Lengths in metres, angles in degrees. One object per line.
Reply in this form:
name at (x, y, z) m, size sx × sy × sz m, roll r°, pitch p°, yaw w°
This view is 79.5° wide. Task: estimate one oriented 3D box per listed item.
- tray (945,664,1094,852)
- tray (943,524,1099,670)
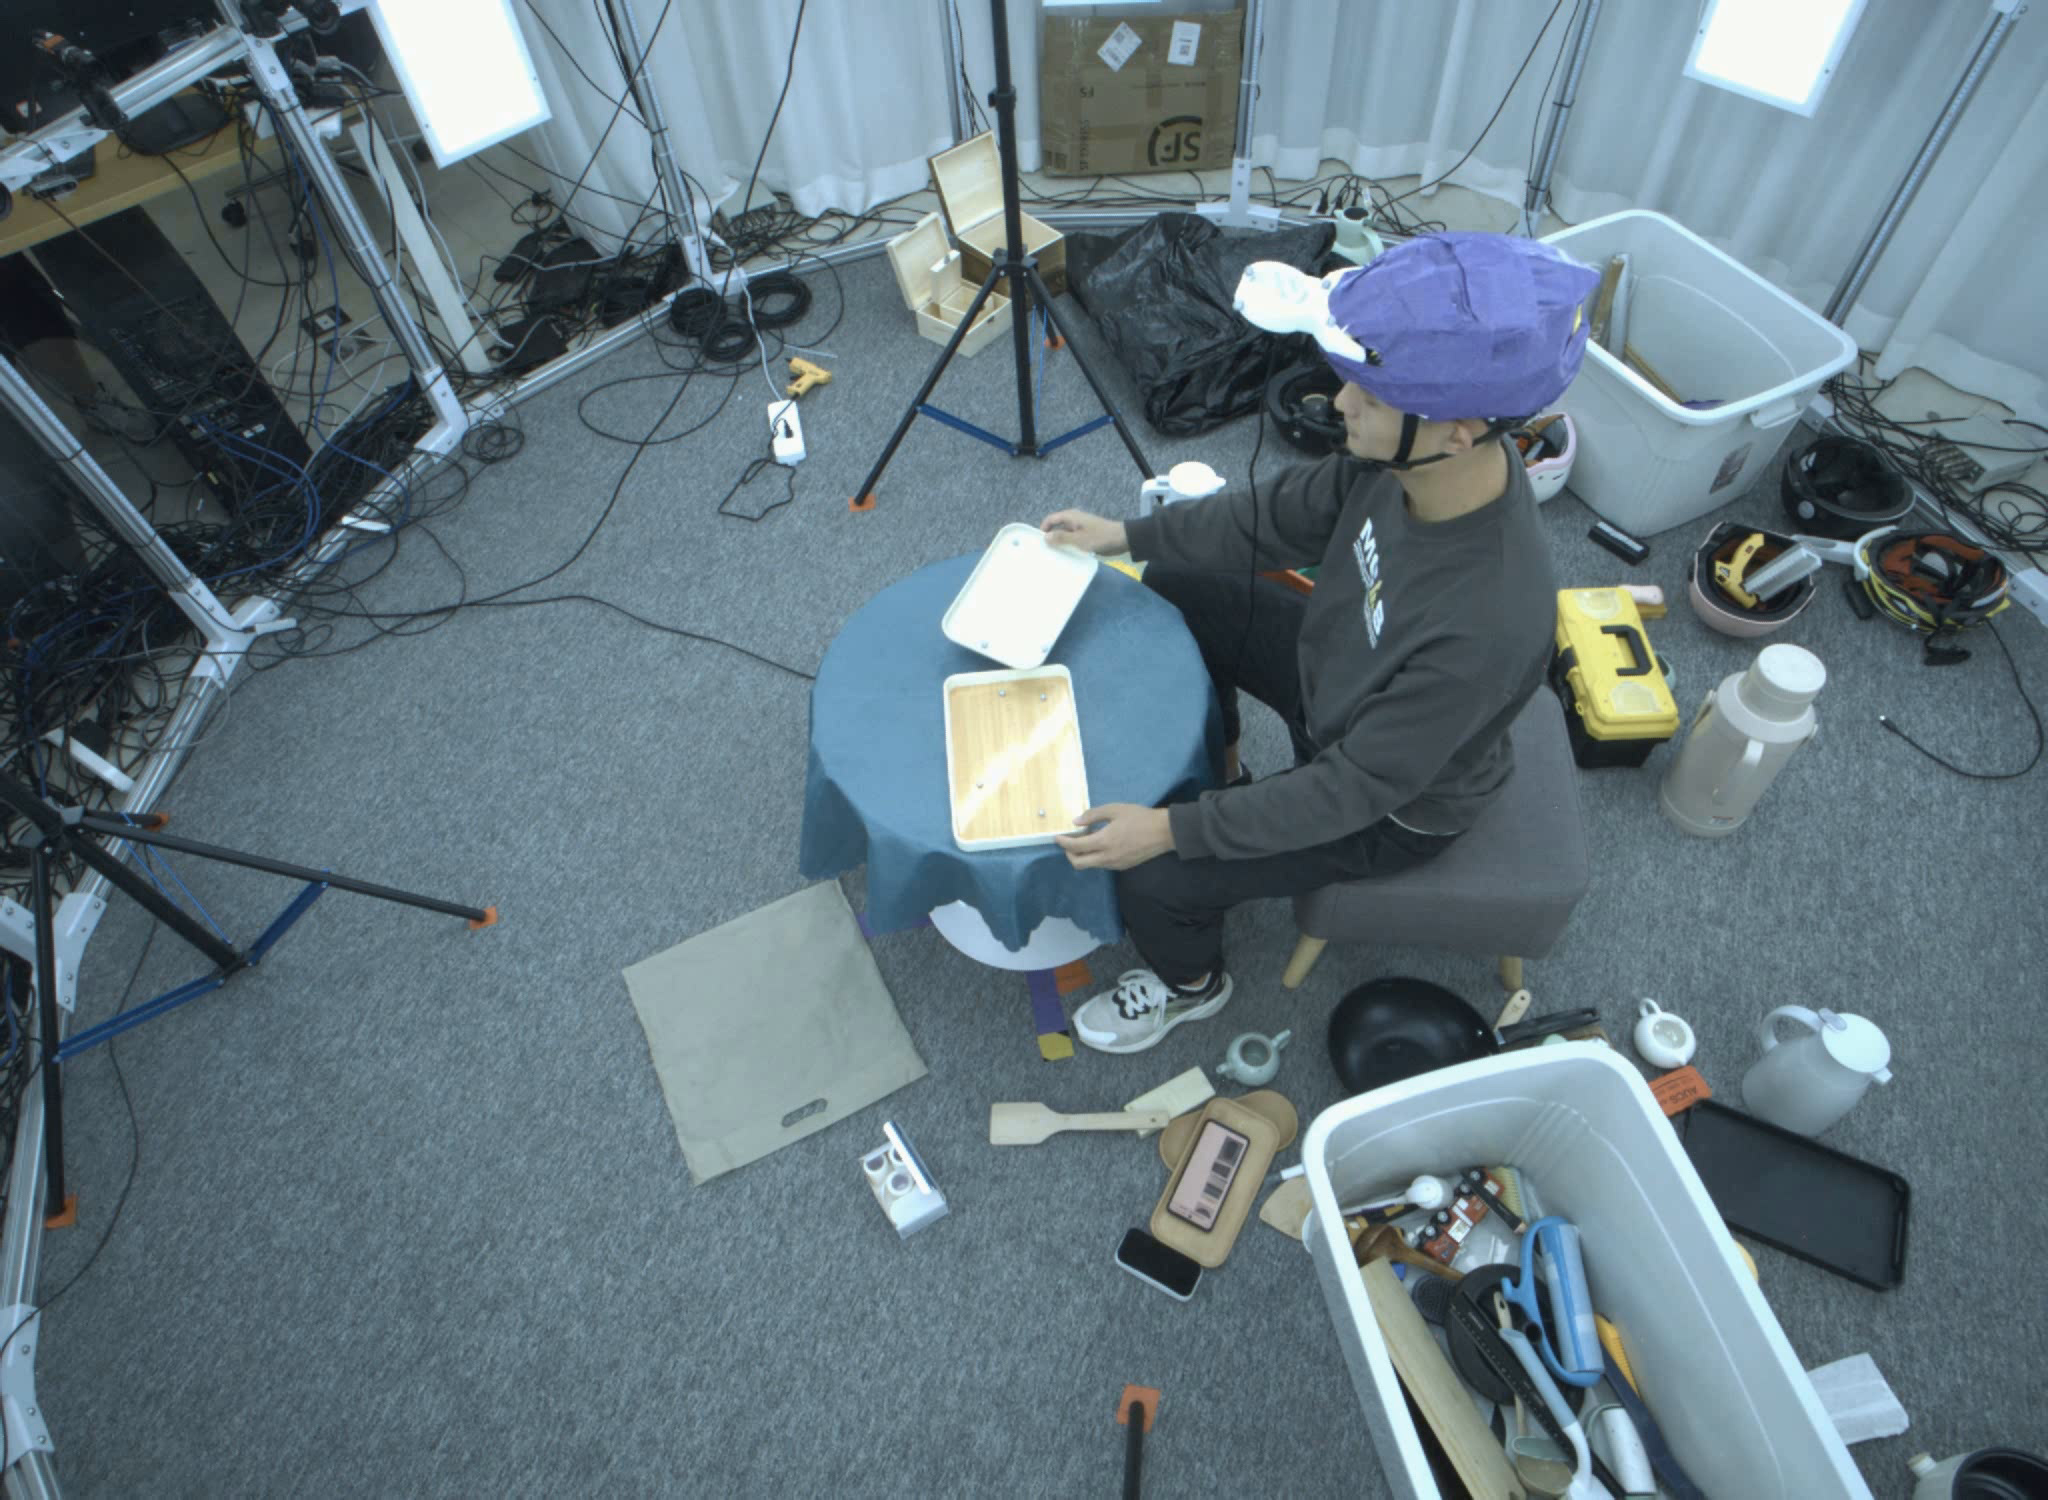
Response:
tray at (-0.011, 0.006, 1.765) m, size 0.192 × 0.028 × 0.296 m, roll -5°, pitch 55°, yaw -2°
tray at (-0.003, -0.235, 1.874) m, size 0.170 × 0.017 × 0.240 m, roll 25°, pitch 66°, yaw 12°
